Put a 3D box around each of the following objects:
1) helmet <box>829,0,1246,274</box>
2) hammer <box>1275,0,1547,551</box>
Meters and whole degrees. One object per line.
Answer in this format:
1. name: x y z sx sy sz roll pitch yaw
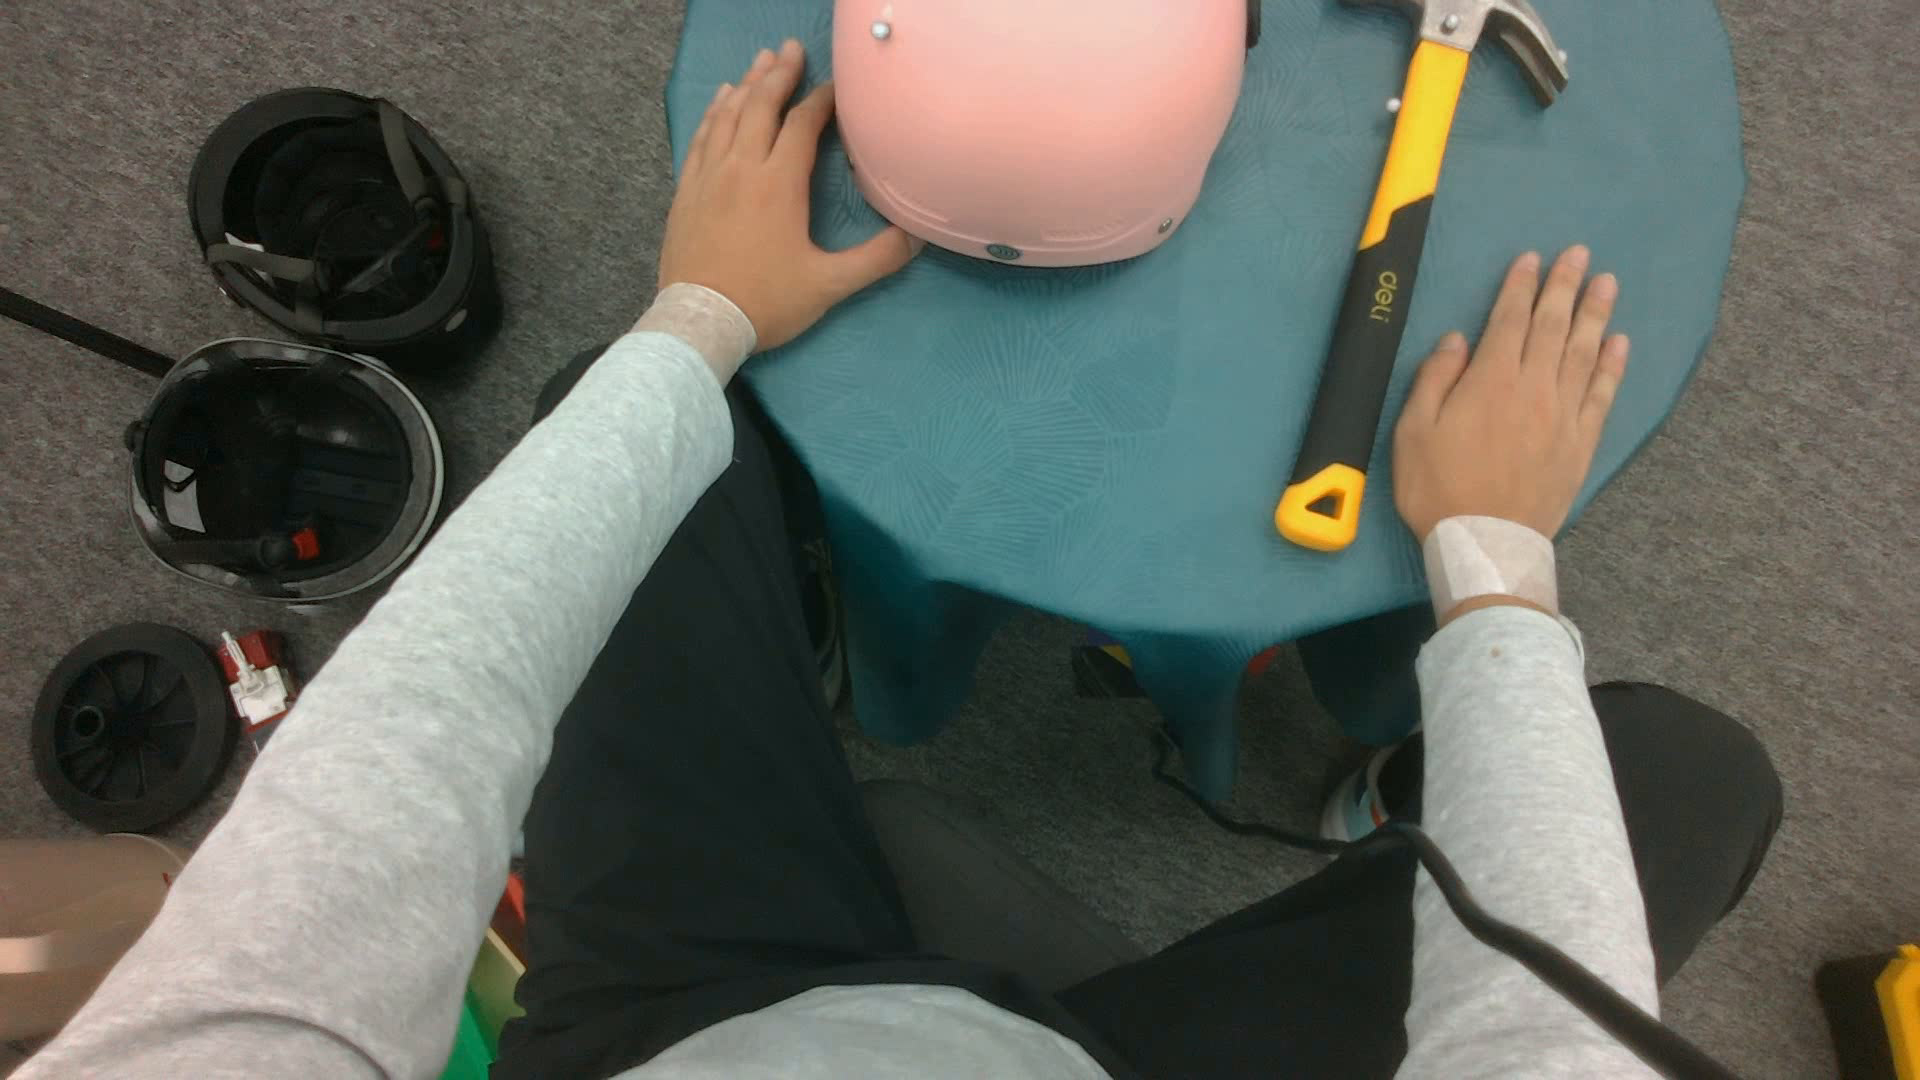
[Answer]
1. helmet: 0.039 -0.281 0.724 0.234 0.158 0.266 9 75 4
2. hammer: 0.229 -0.157 0.754 0.131 0.032 0.339 15 80 4
